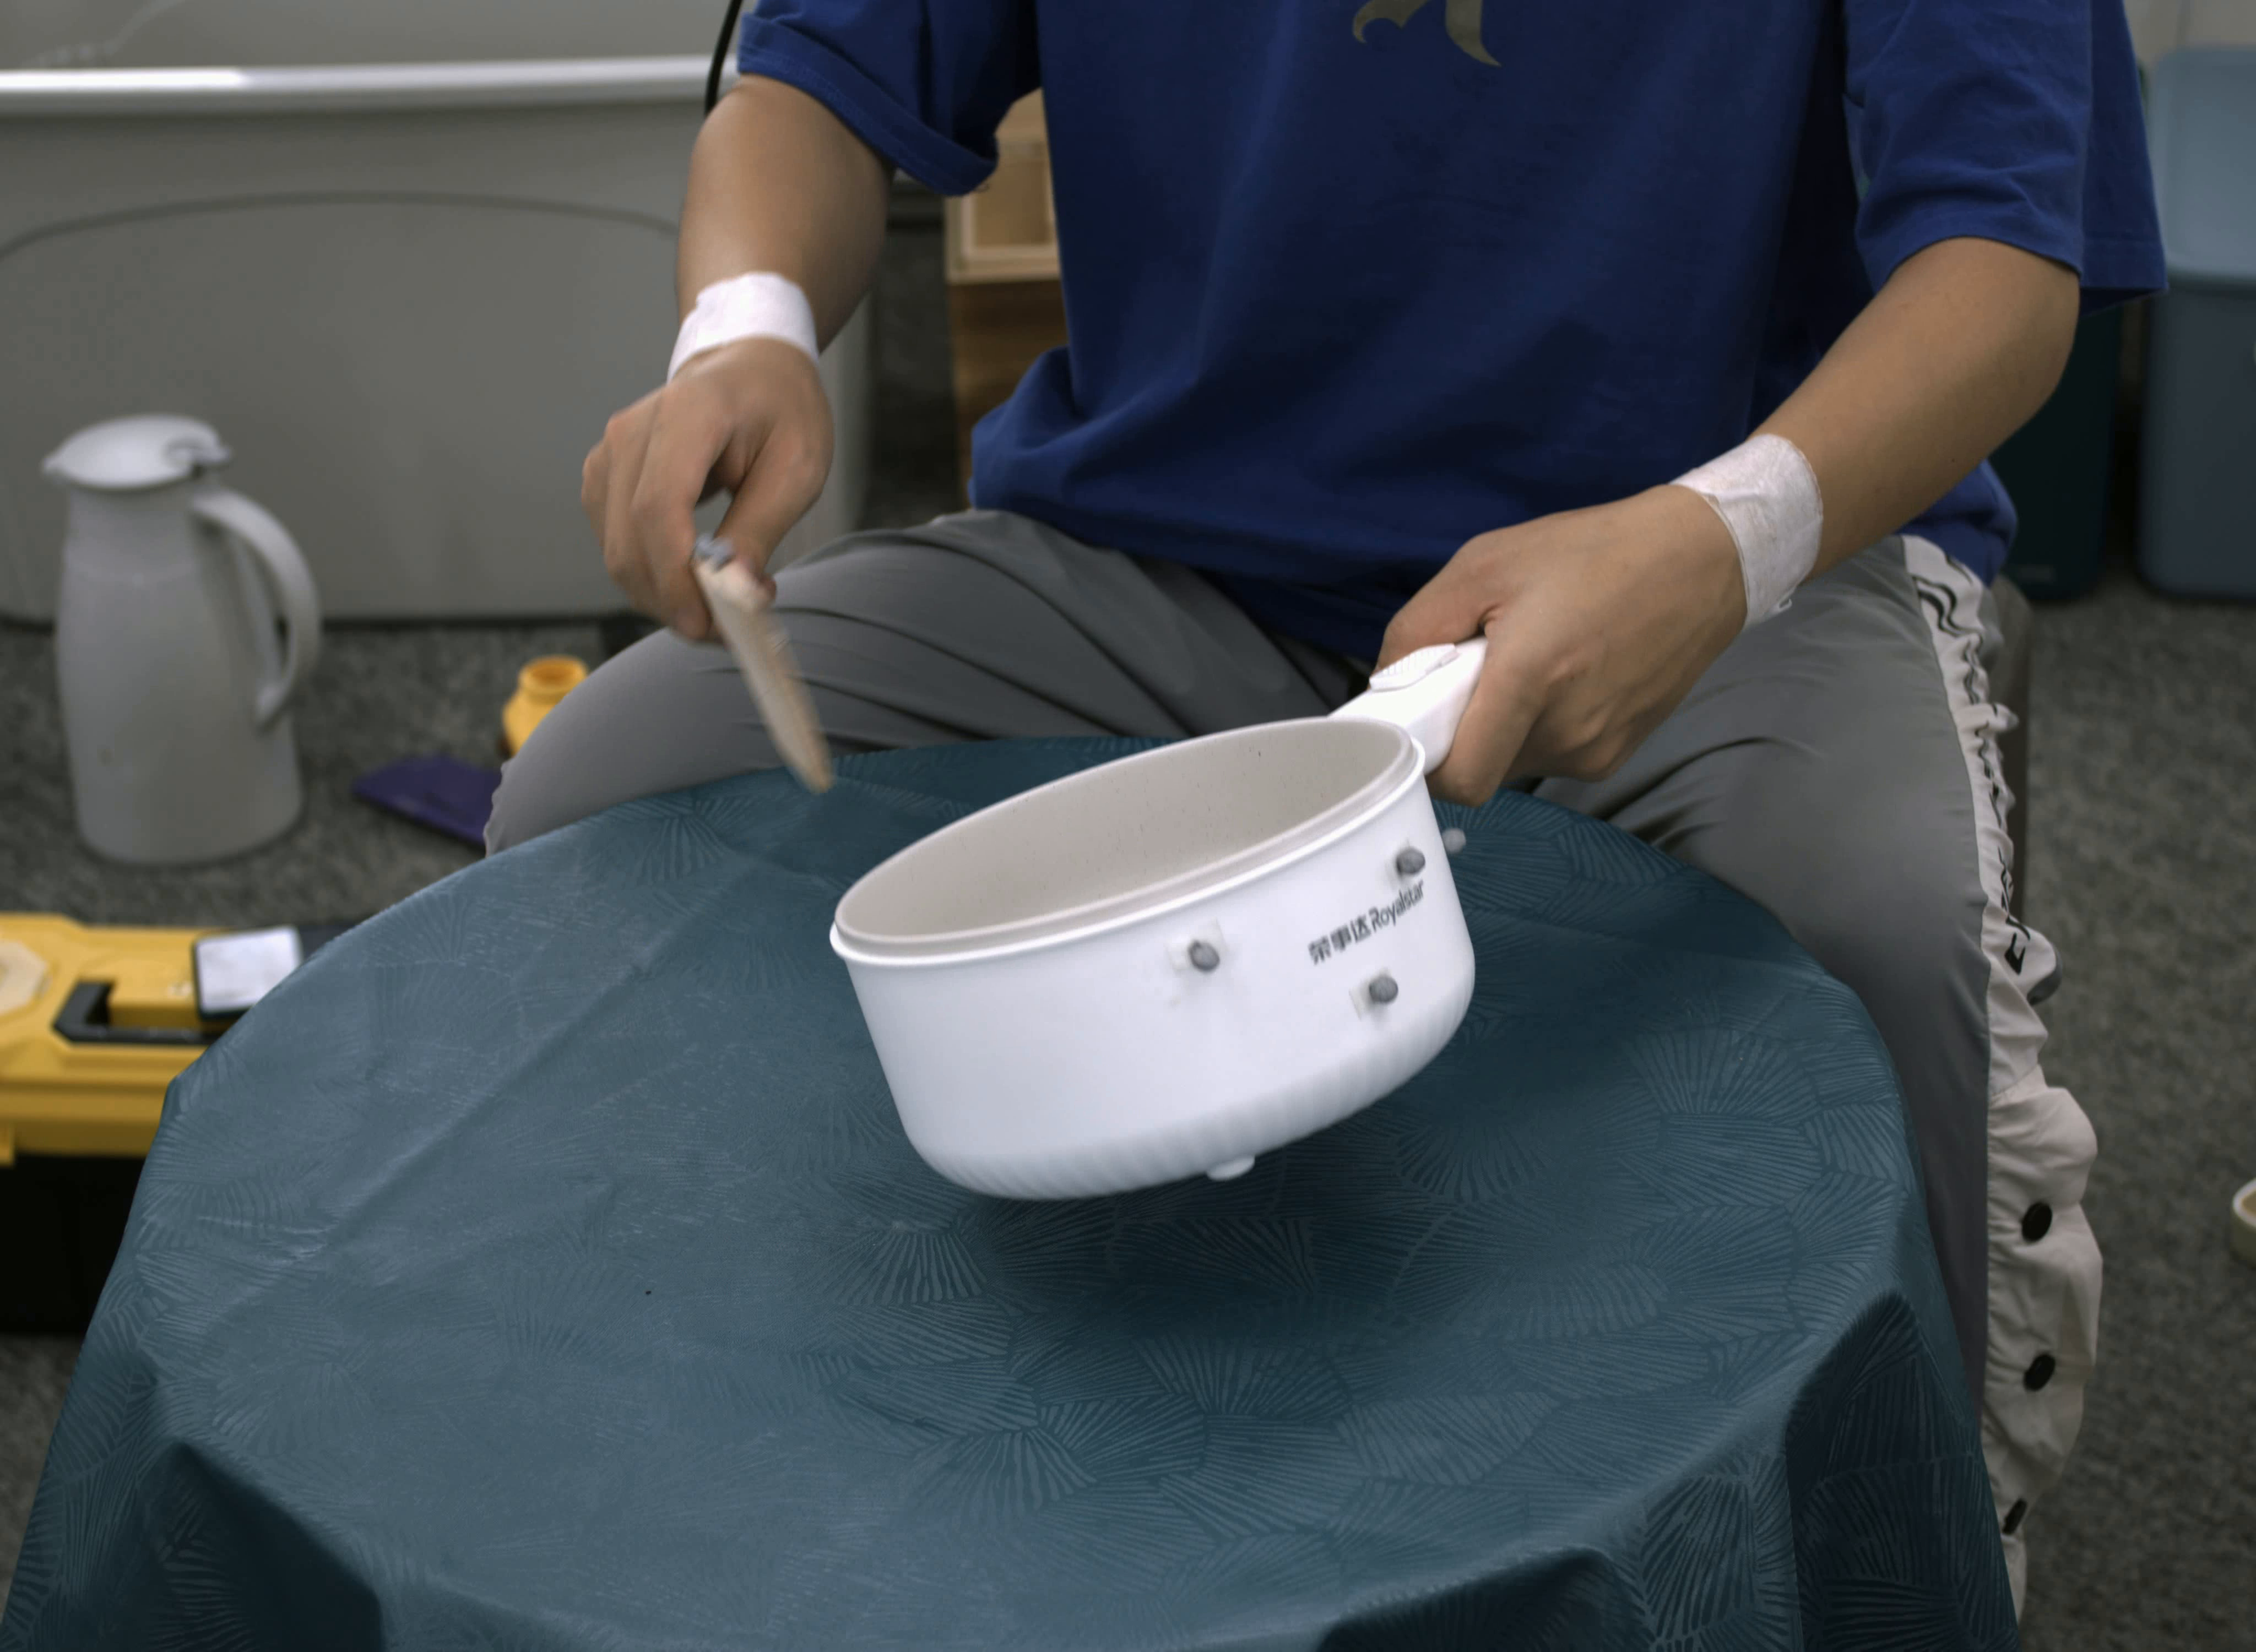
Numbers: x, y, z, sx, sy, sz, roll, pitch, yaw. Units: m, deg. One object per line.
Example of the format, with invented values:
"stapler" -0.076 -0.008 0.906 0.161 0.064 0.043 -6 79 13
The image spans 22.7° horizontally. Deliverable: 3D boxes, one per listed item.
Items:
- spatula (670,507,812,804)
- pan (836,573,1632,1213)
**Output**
"spatula" -0.141 -0.072 1.943 0.010 0.072 0.295 -25 17 -2
"pan" 0.062 0.021 1.874 0.199 0.102 0.360 -9 15 43
